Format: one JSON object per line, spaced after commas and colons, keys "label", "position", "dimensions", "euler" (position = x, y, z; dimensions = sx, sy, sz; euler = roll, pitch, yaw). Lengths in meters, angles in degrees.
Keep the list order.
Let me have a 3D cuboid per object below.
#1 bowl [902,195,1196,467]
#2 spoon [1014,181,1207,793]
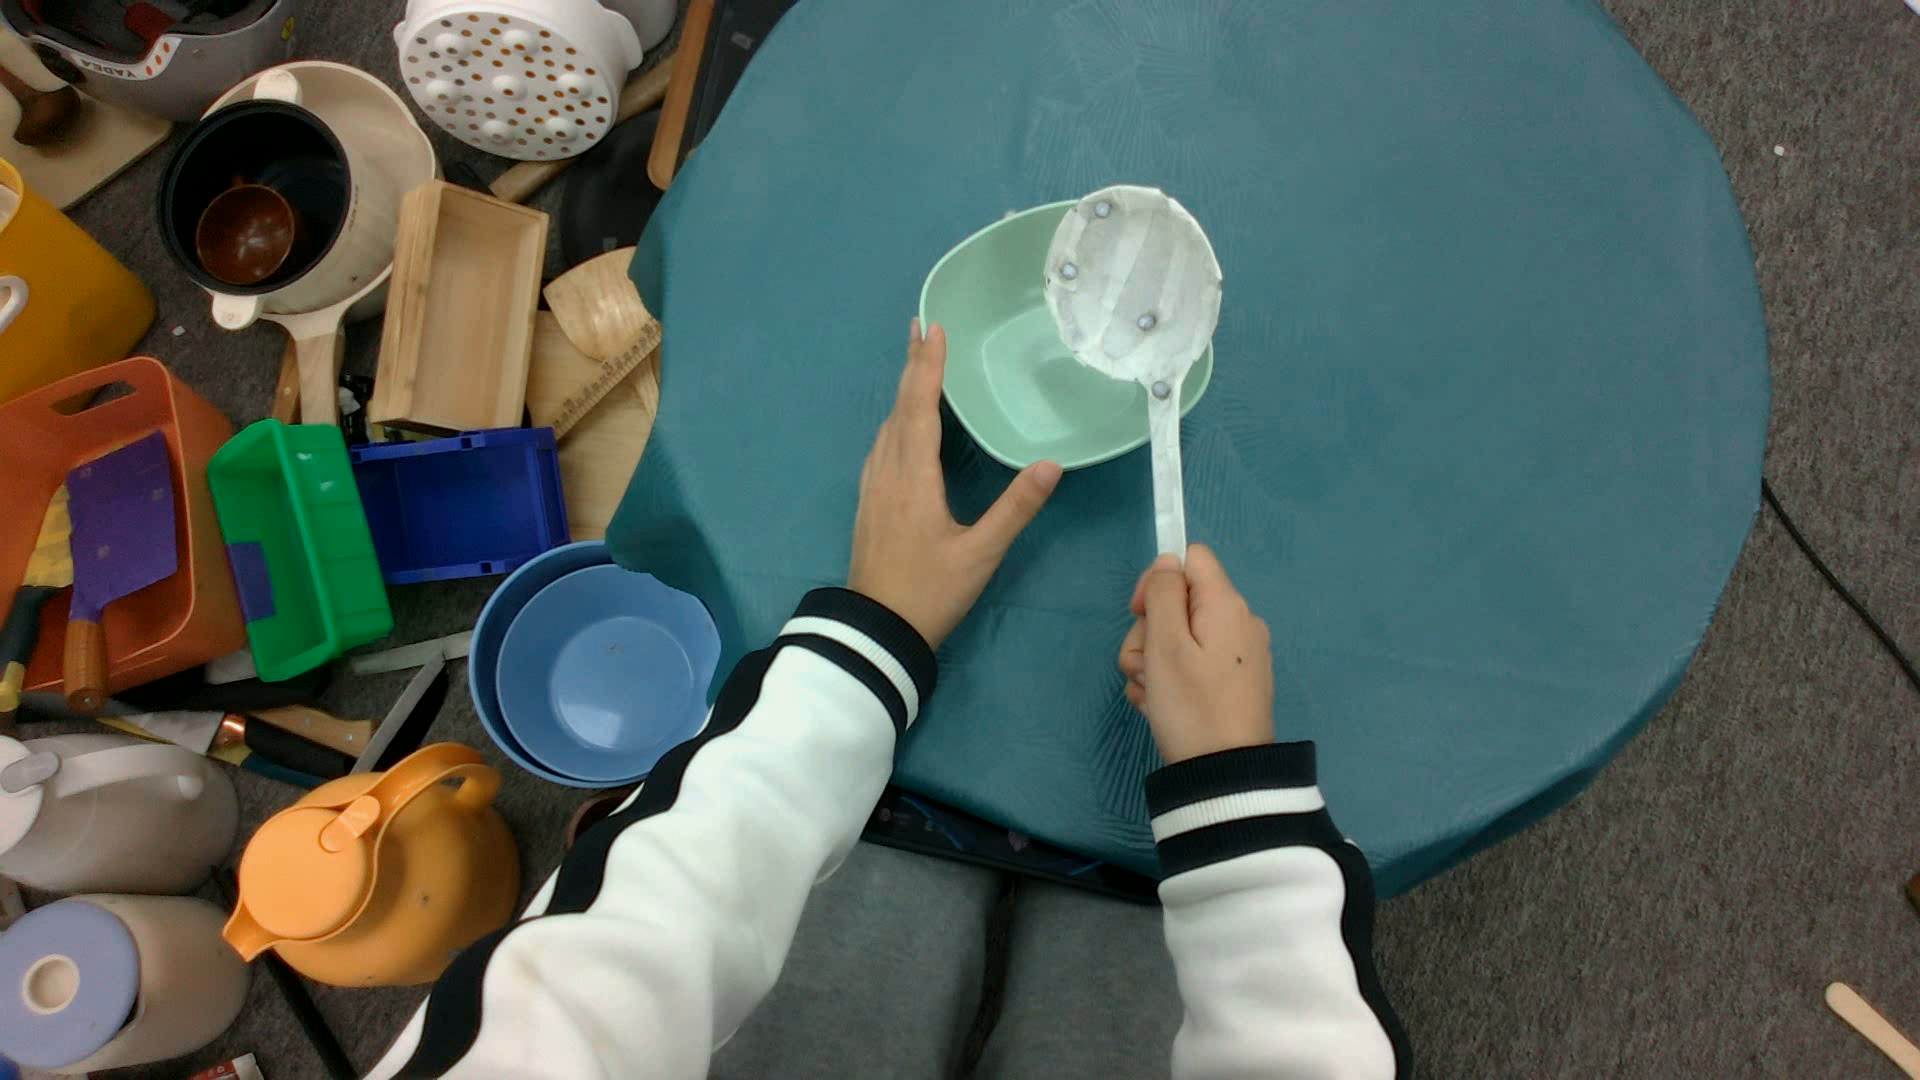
{"label": "bowl", "position": [0.044, -0.100, 0.715], "dimensions": [0.151, 0.058, 0.152], "euler": [0, 74, 0]}
{"label": "spoon", "position": [0.067, -0.027, 0.630], "dimensions": [0.100, 0.059, 0.278], "euler": [-11, 70, 38]}
